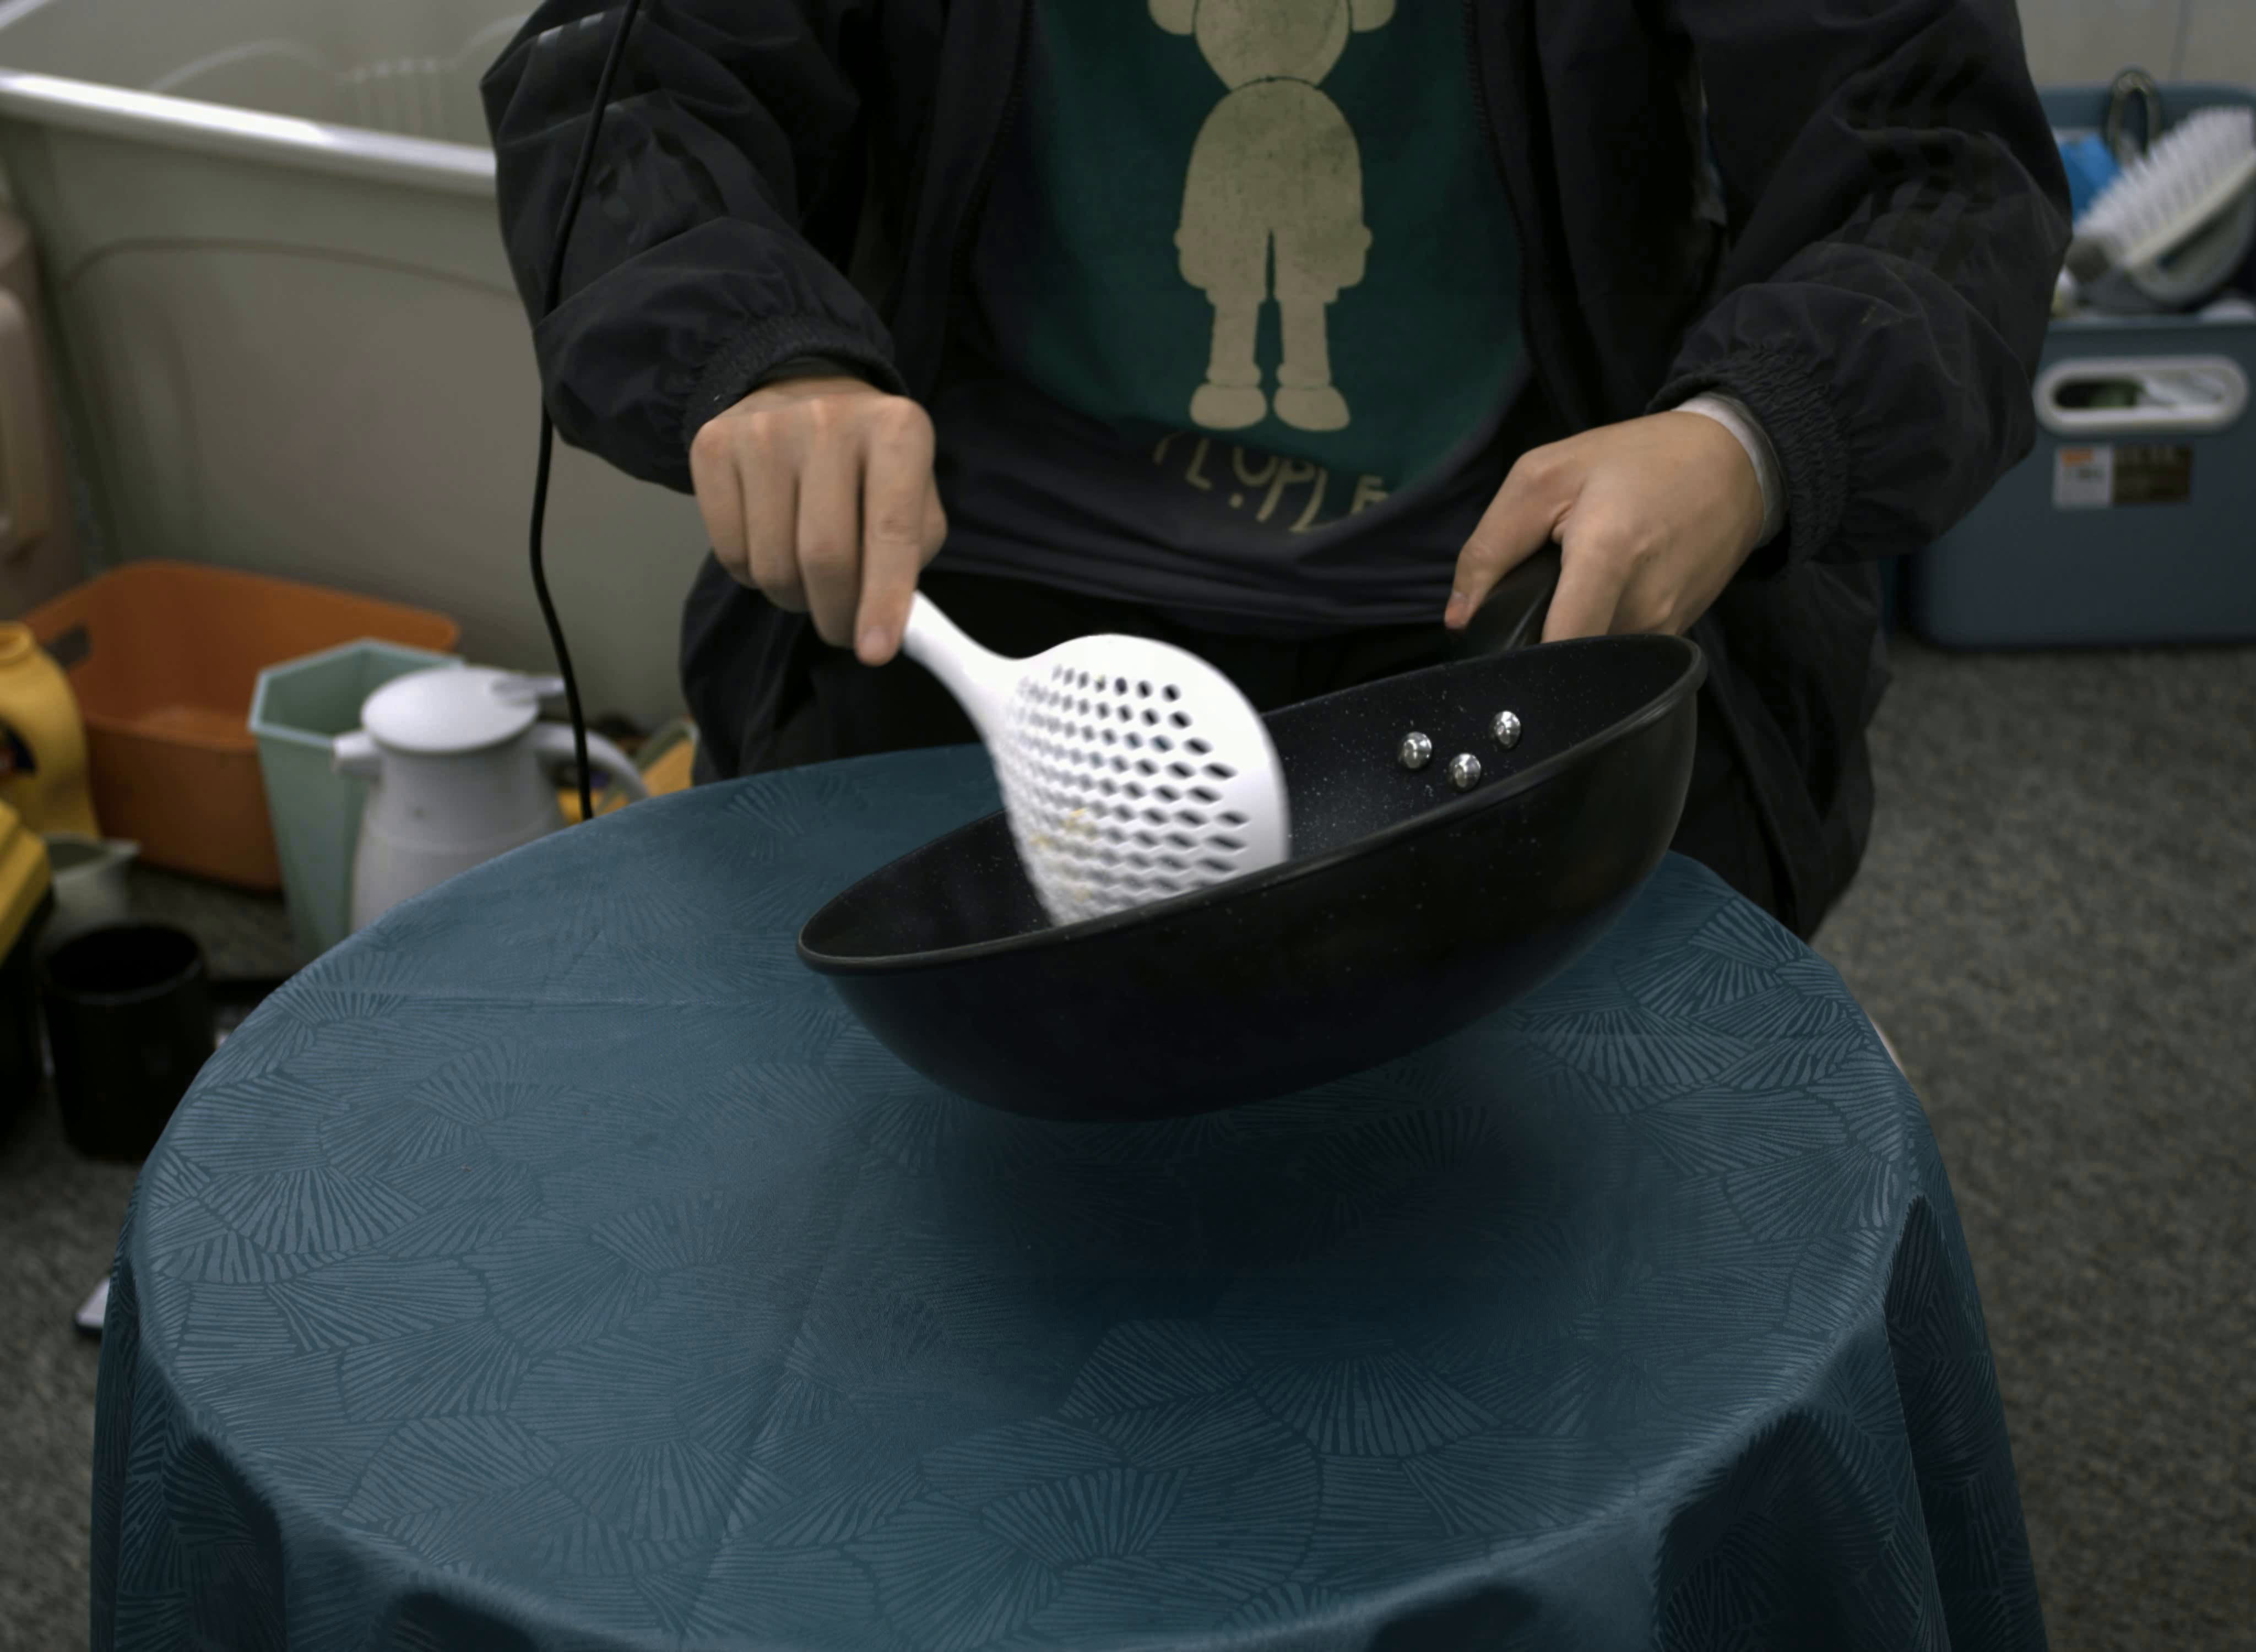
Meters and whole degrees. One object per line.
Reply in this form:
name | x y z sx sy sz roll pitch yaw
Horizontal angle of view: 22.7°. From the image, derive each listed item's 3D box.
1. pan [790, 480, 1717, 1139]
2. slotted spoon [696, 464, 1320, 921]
pan | 0.086 -0.004 1.880 0.306 0.111 0.483 -11 11 31
slotted spoon | -0.048 -0.043 1.923 0.050 0.135 0.350 -9 32 -30
